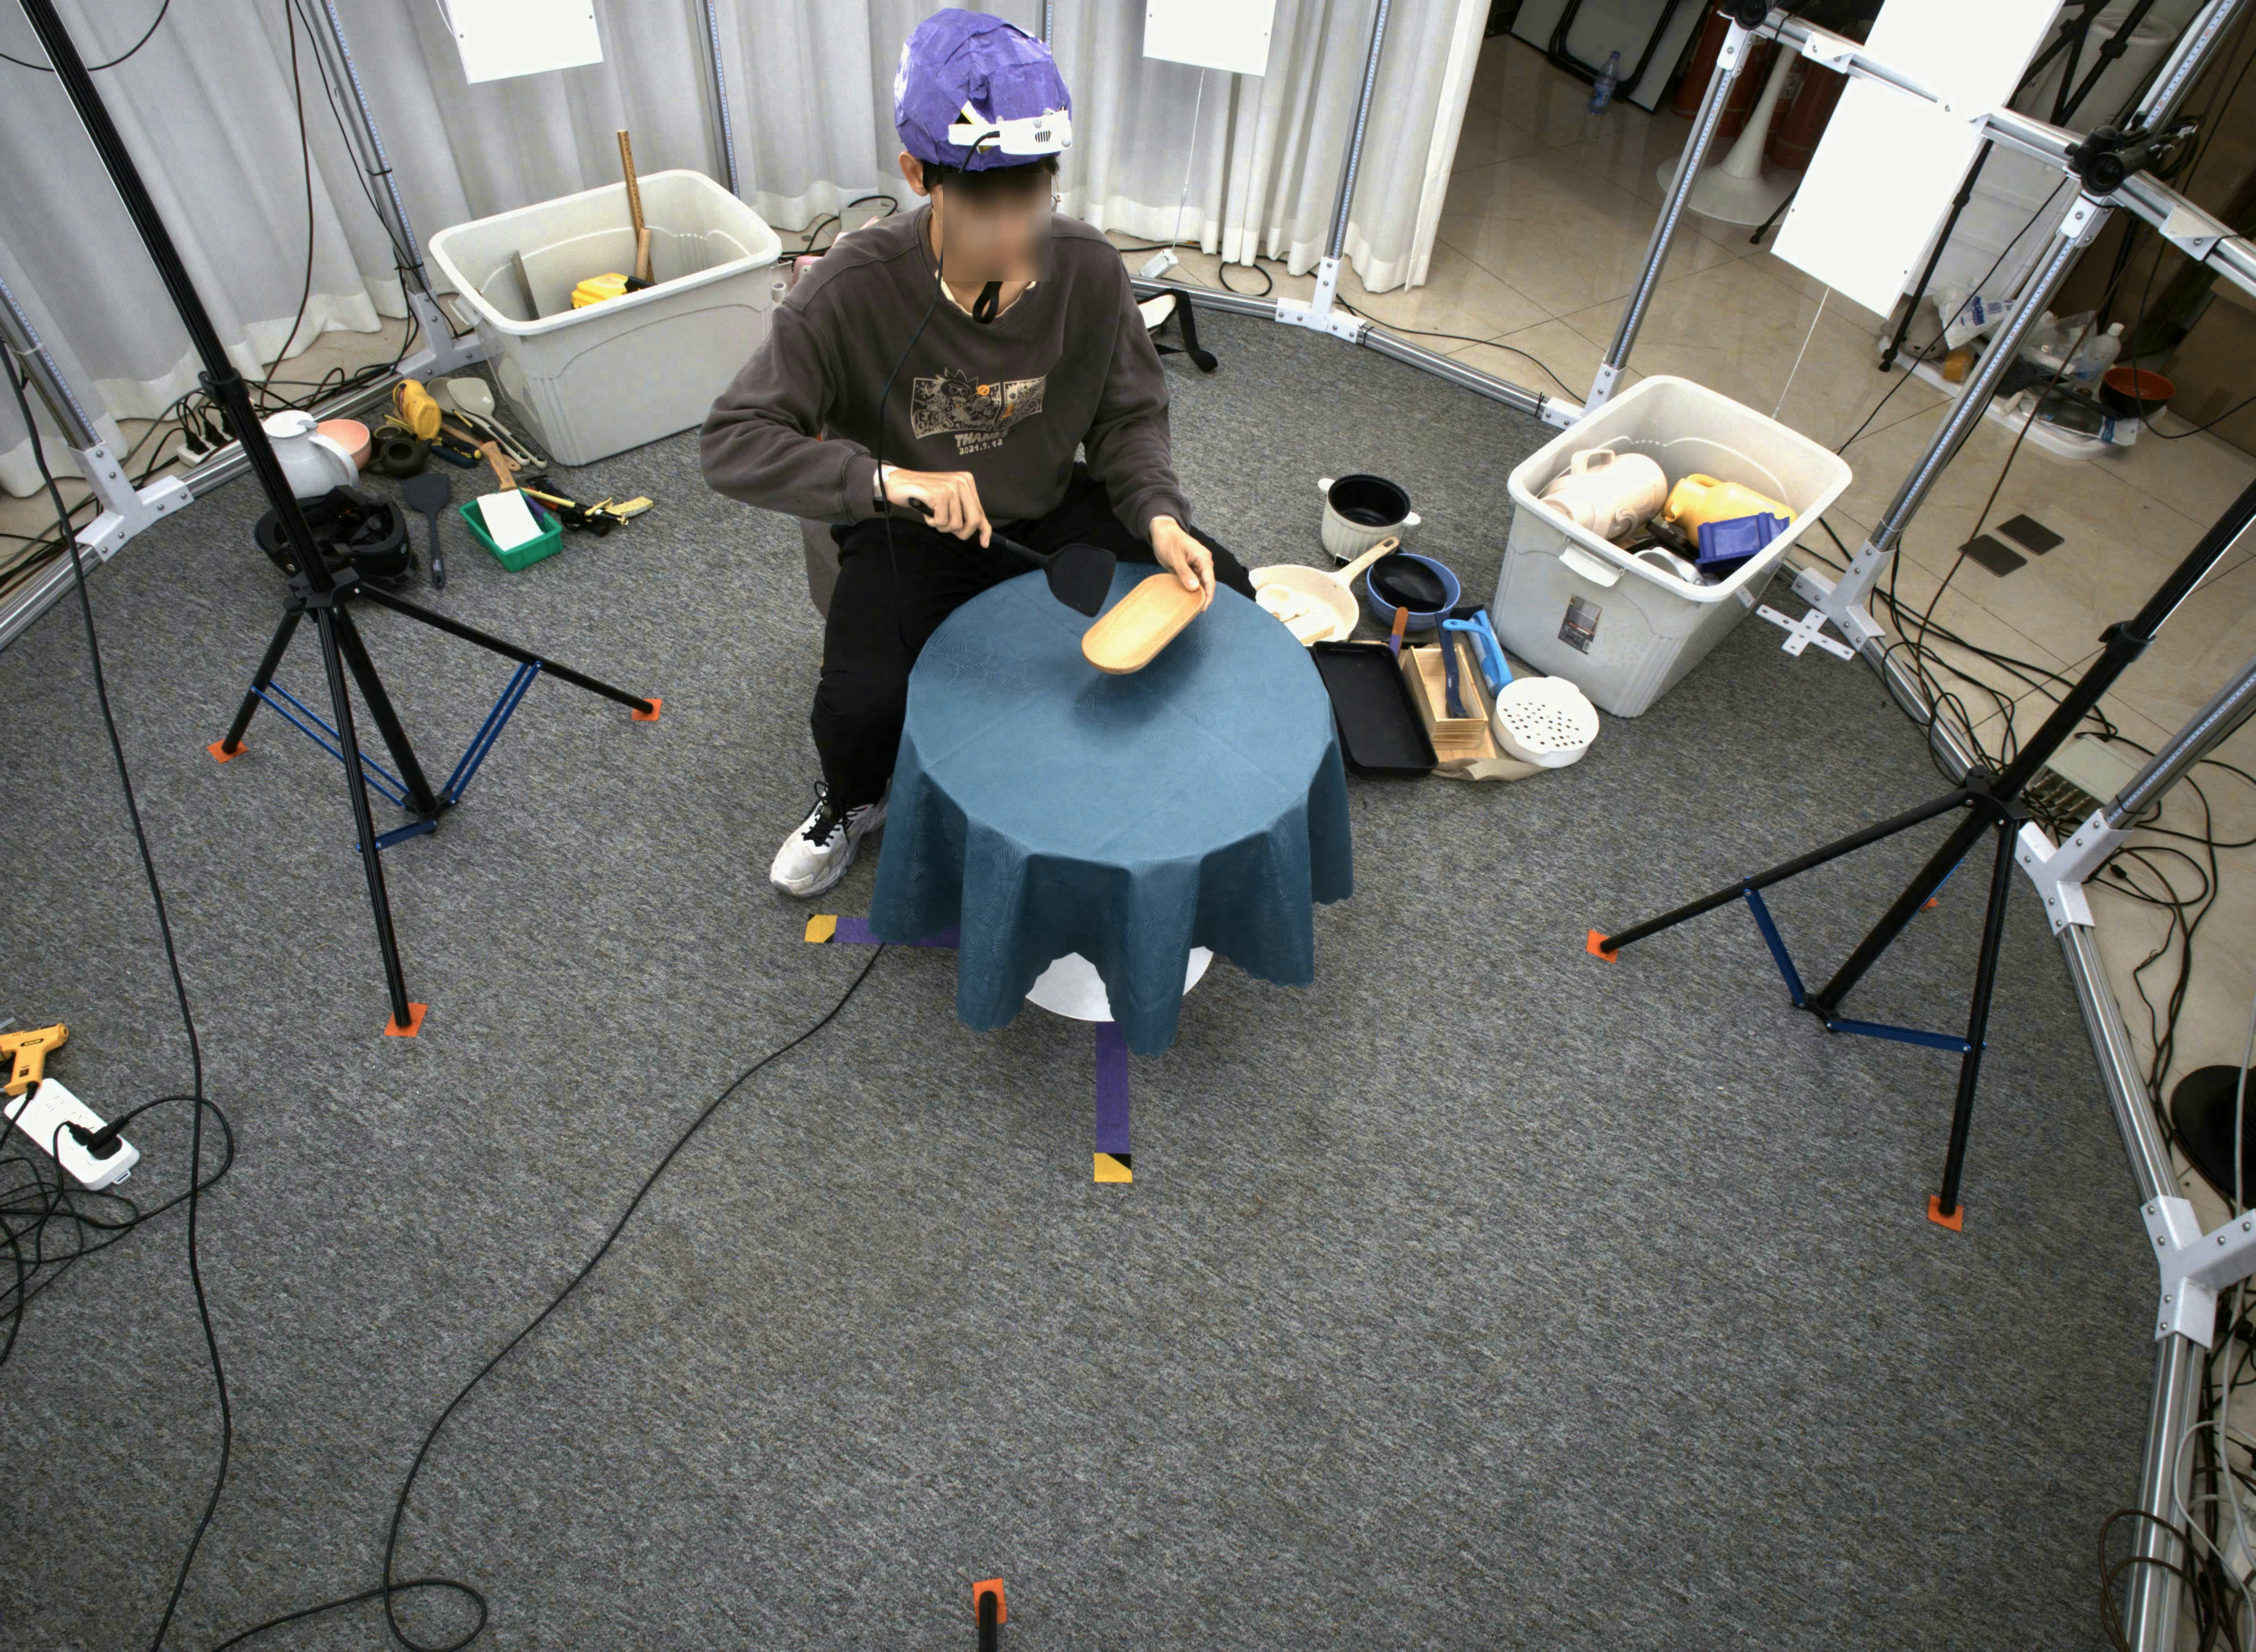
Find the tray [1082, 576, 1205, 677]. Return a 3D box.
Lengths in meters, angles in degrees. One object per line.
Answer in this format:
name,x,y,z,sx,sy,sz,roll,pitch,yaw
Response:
tray,0.024,-0.285,1.821,0.103,0.020,0.234,26,54,23

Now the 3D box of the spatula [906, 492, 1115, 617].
spatula,-0.156,-0.382,1.746,0.322,0.100,0.041,18,-2,-40
